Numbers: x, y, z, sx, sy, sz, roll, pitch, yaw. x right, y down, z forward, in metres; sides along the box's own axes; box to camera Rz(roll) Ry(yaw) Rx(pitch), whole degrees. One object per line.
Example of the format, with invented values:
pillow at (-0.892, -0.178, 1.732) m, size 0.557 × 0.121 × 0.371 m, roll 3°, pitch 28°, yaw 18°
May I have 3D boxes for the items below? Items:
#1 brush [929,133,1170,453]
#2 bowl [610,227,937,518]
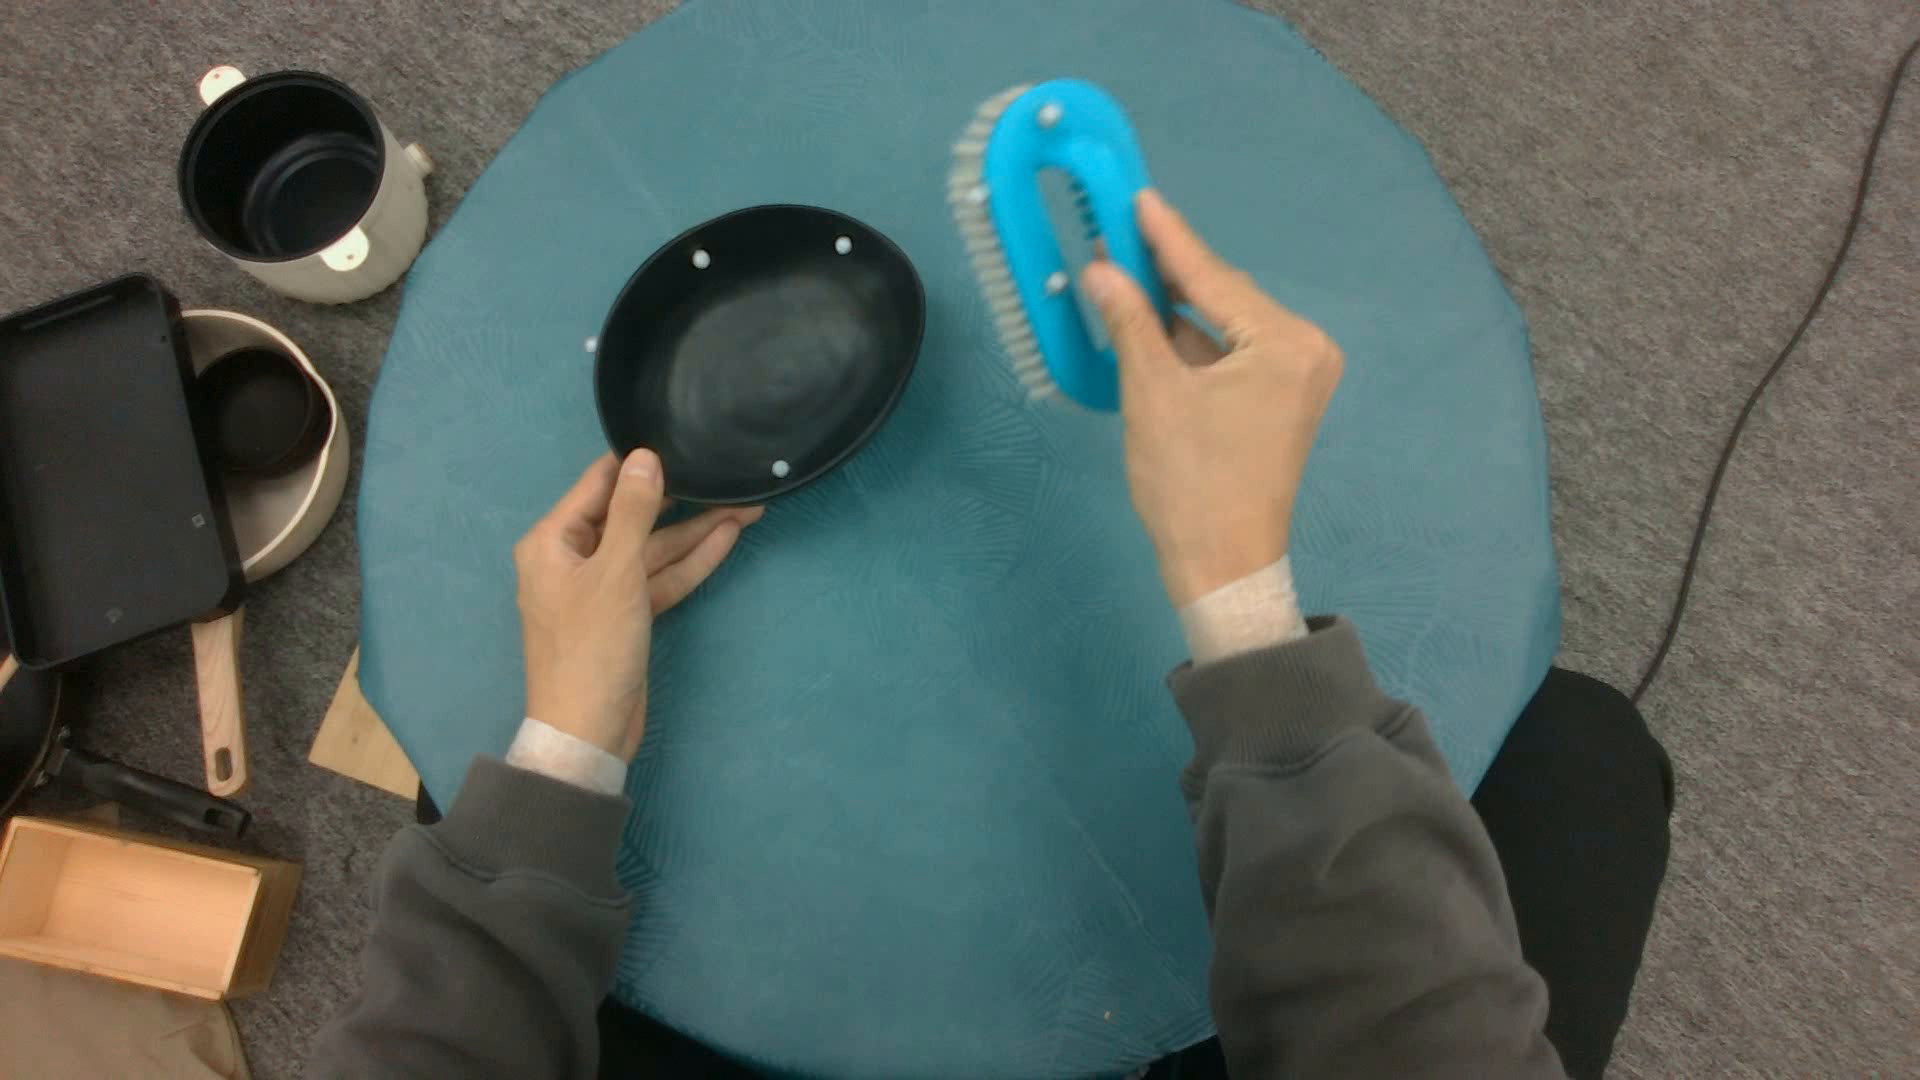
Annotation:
brush at (0.049, -0.105, 0.580) m, size 0.084 × 0.063 × 0.141 m, roll -32°, pitch 110°, yaw -26°
bowl at (-0.090, -0.080, 0.691) m, size 0.170 × 0.066 × 0.137 m, roll -41°, pitch 80°, yaw -9°
